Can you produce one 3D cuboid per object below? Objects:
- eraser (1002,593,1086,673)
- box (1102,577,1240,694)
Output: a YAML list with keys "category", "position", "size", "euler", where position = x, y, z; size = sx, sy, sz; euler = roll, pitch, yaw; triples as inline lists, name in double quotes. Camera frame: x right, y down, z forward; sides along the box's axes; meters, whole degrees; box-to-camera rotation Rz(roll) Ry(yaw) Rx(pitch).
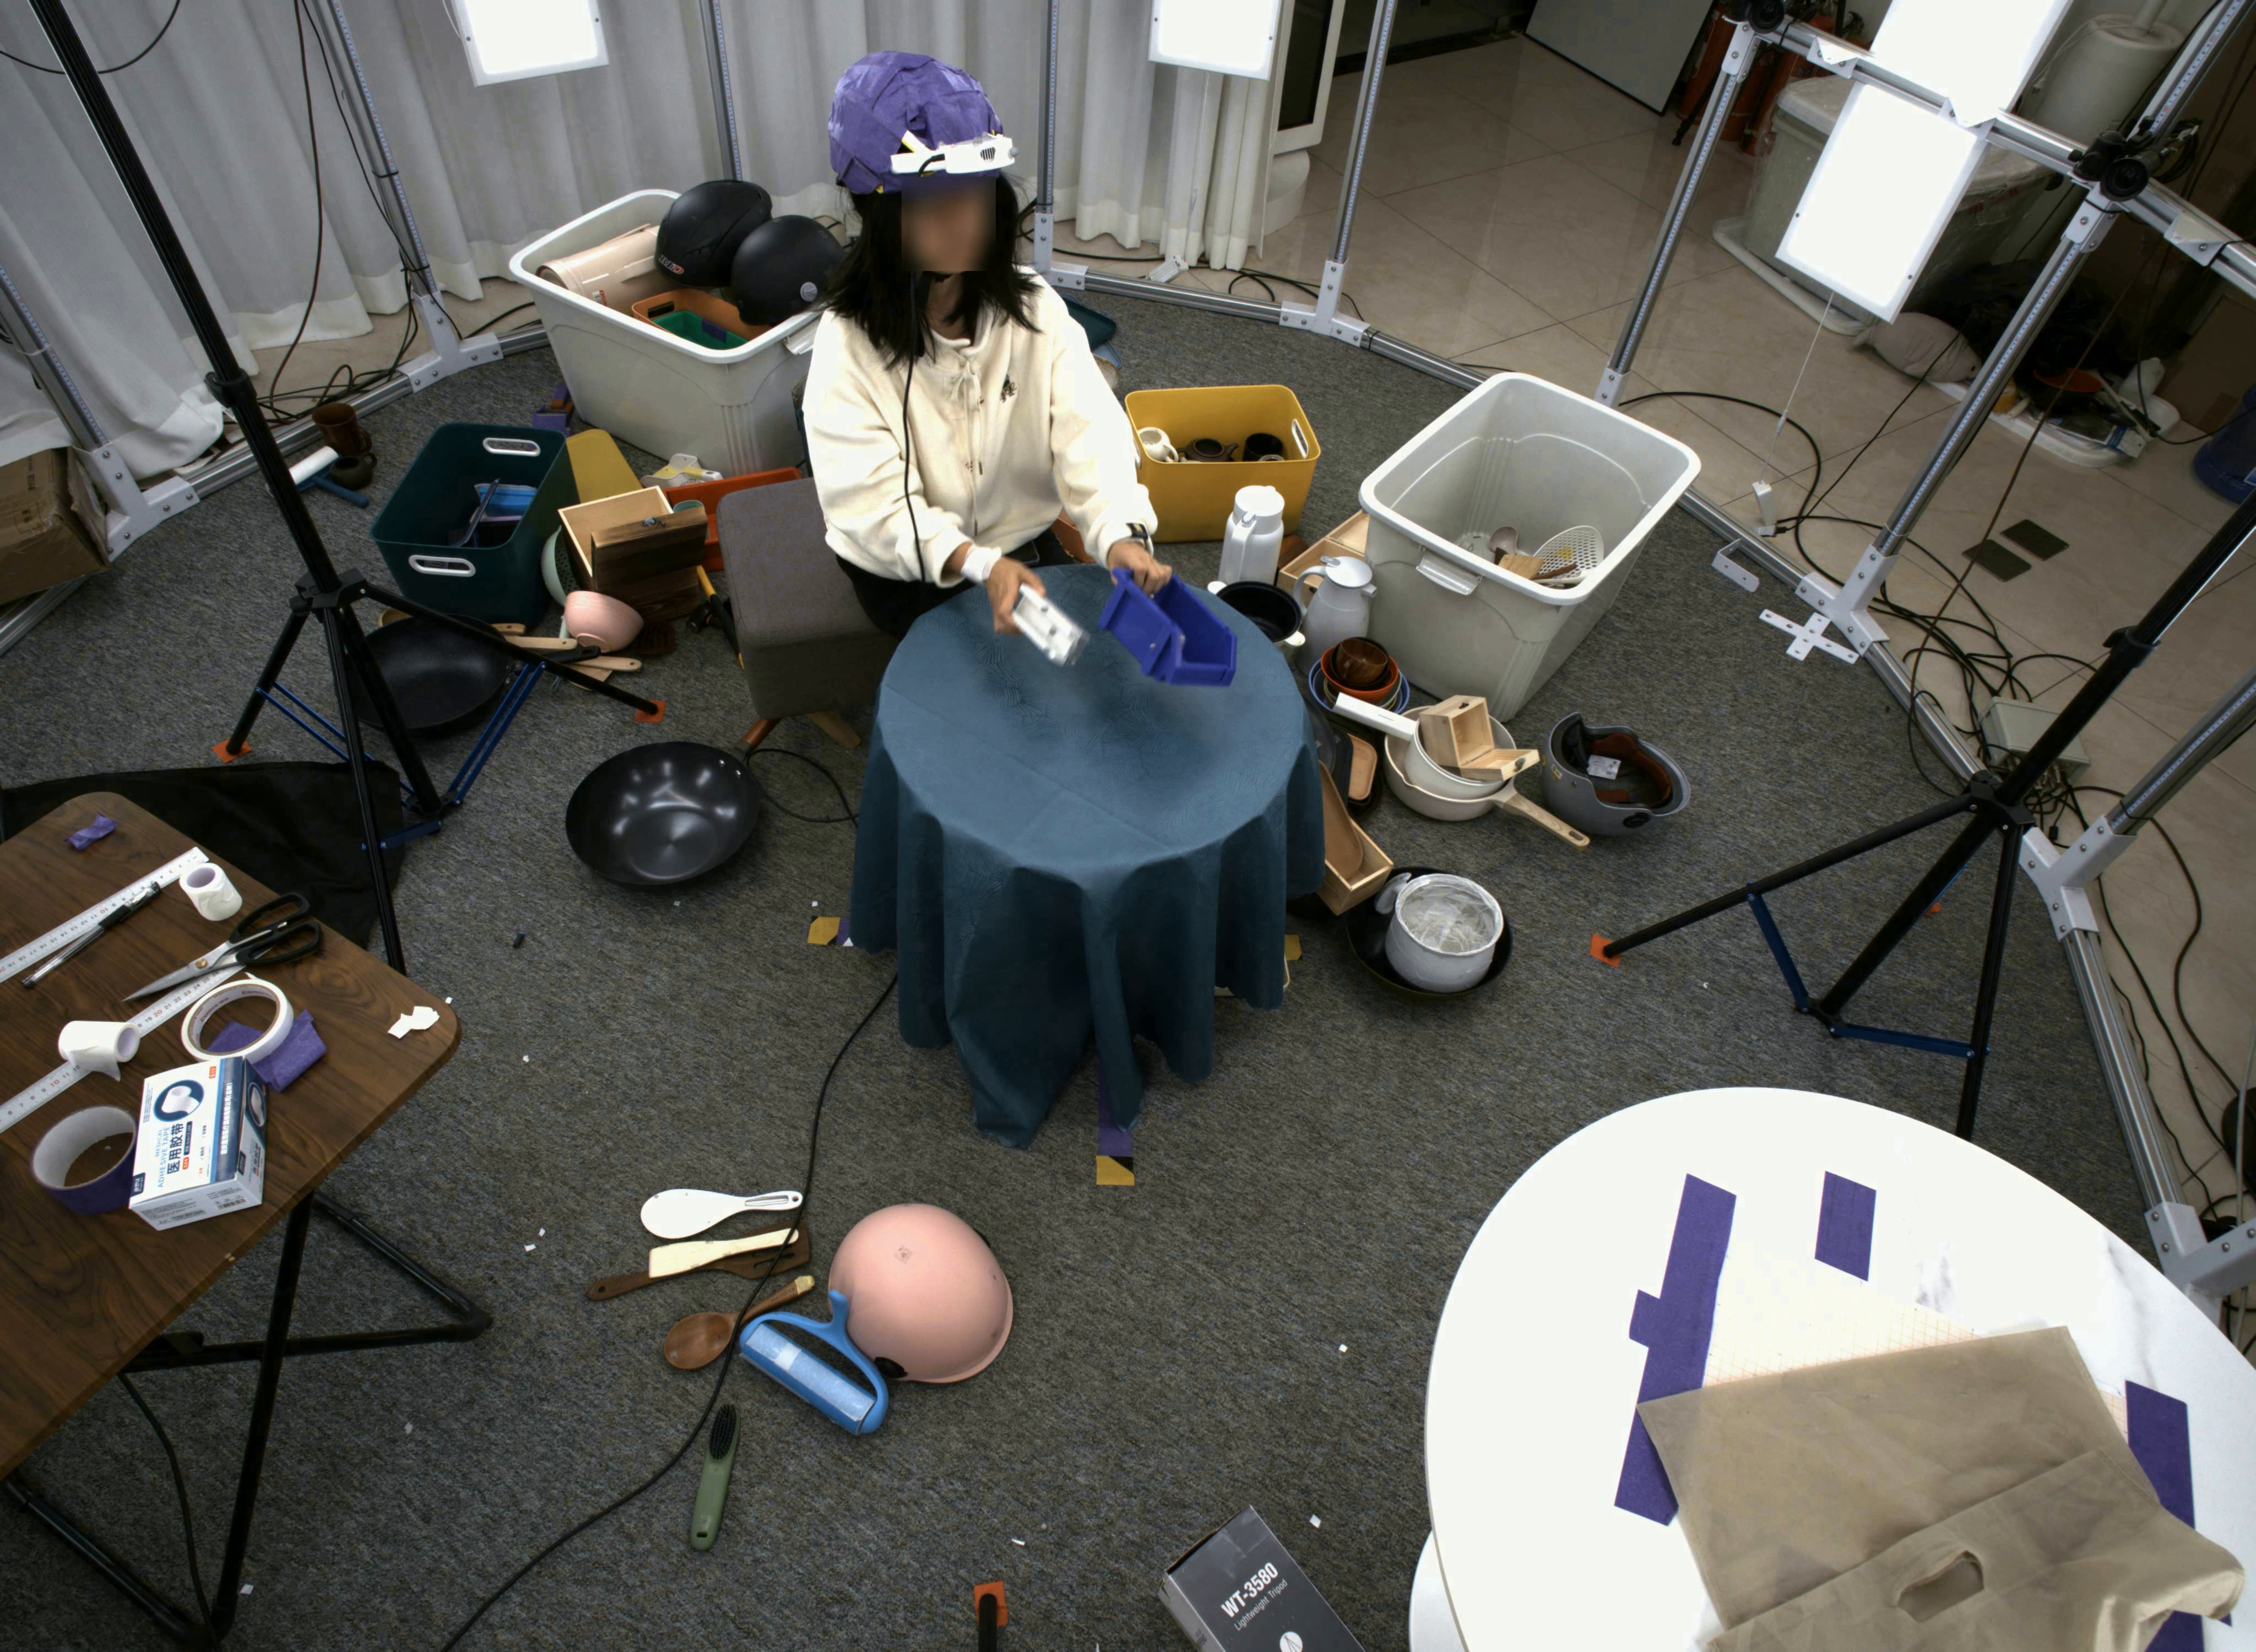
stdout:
- category: "eraser"
  position: [-0.116, -0.267, 1.775]
  size: [0.046, 0.049, 0.137]
  euler: [17, 21, -47]
- category: "box"
  position: [0.061, -0.251, 1.736]
  size: [0.124, 0.080, 0.183]
  euler: [-2, 41, -42]
